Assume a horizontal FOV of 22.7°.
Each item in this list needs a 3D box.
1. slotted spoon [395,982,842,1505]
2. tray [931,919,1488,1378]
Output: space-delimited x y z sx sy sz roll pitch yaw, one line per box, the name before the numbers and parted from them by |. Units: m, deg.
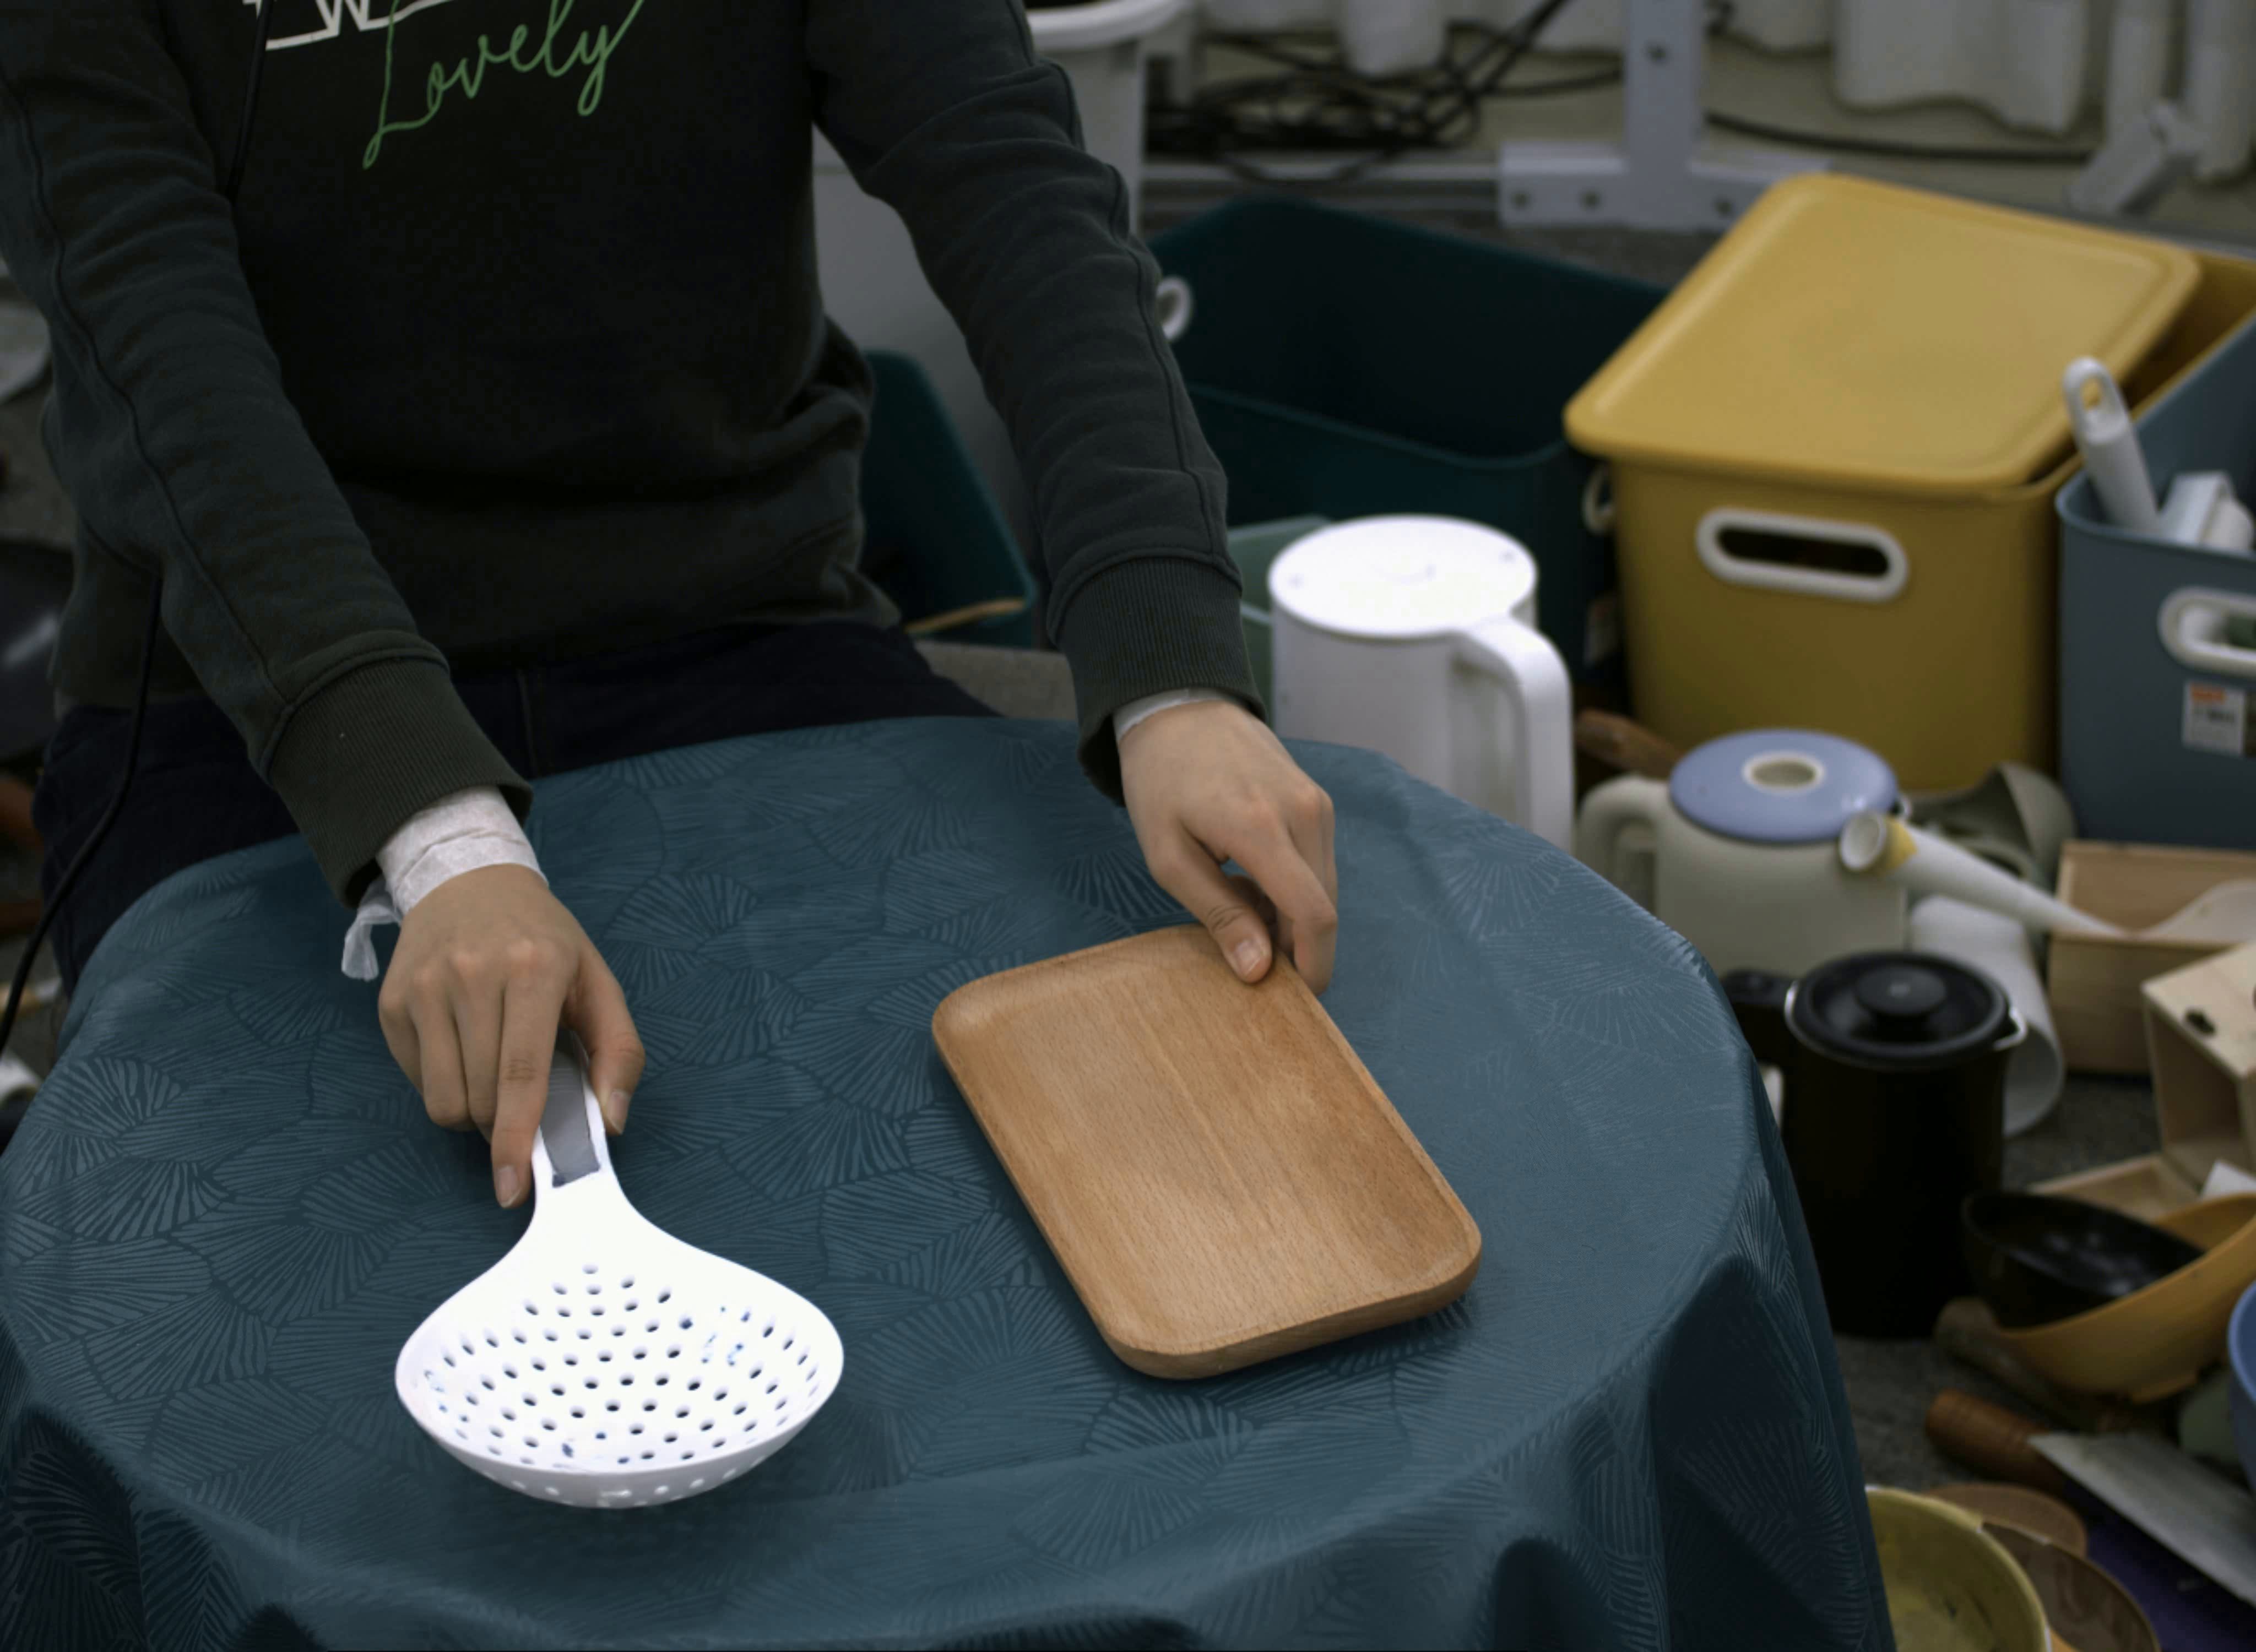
slotted spoon | -0.175 0.128 1.811 0.136 0.045 0.354 -2 27 -10
tray | 0.023 0.104 1.864 0.130 0.022 0.253 -12 29 -13
